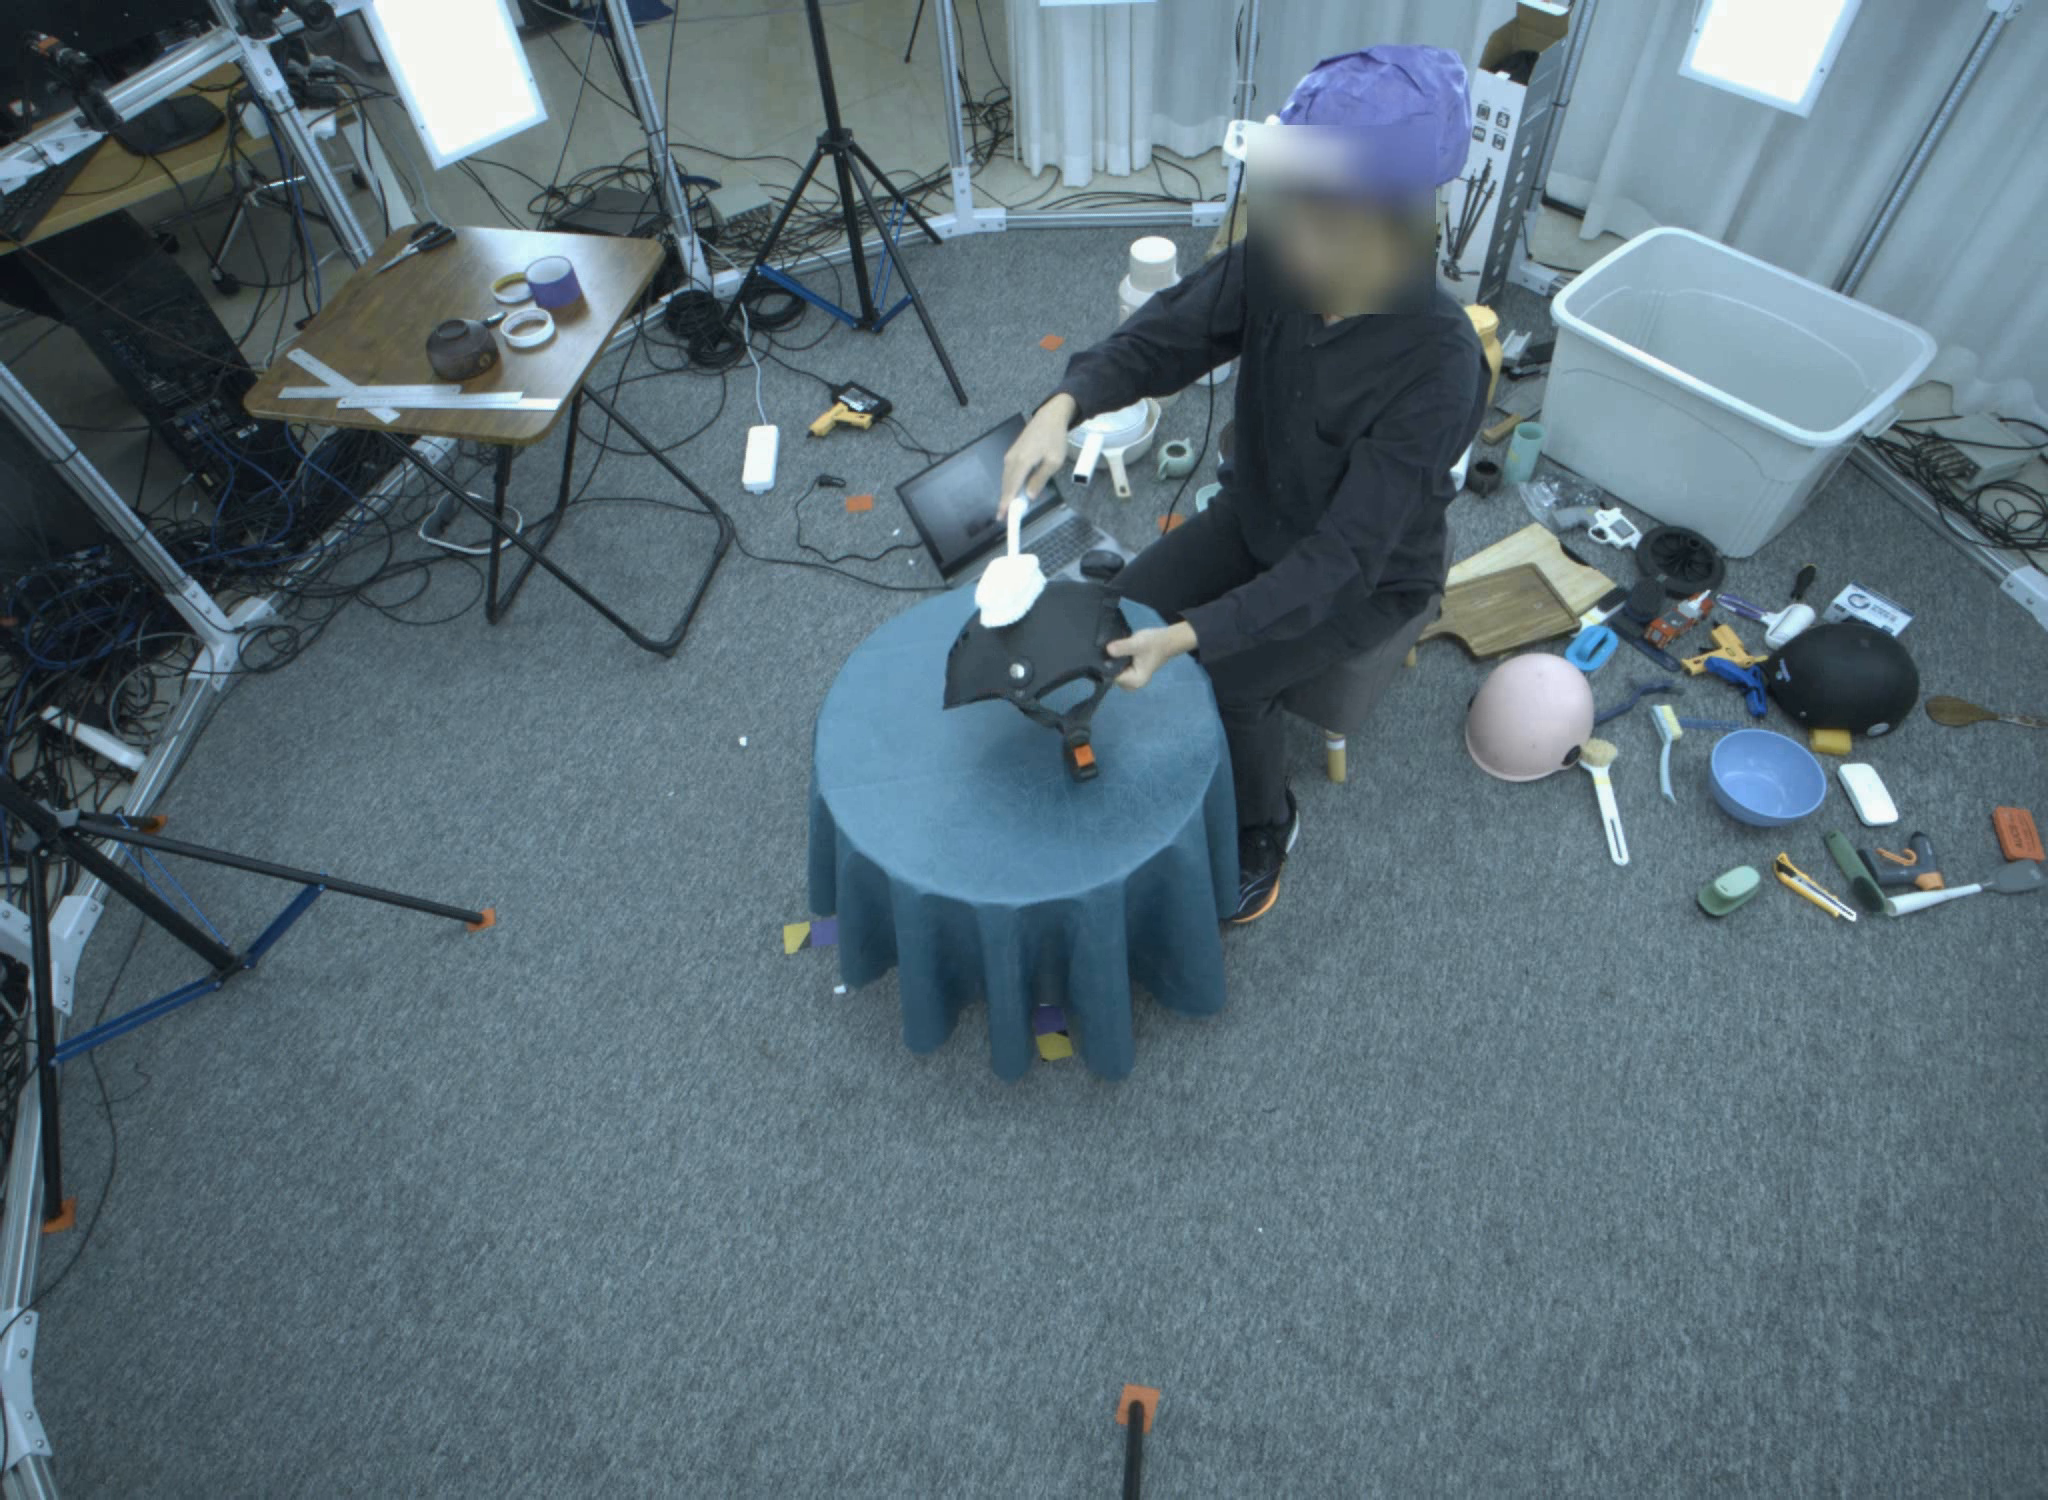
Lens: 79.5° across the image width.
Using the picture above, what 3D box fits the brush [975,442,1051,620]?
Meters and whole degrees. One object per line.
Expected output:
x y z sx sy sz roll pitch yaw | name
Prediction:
0.003 -0.286 1.638 0.084 0.084 0.324 22 53 -8 | brush

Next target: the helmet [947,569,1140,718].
0.016 -0.148 1.667 0.276 0.247 0.172 -15 89 2 | helmet
